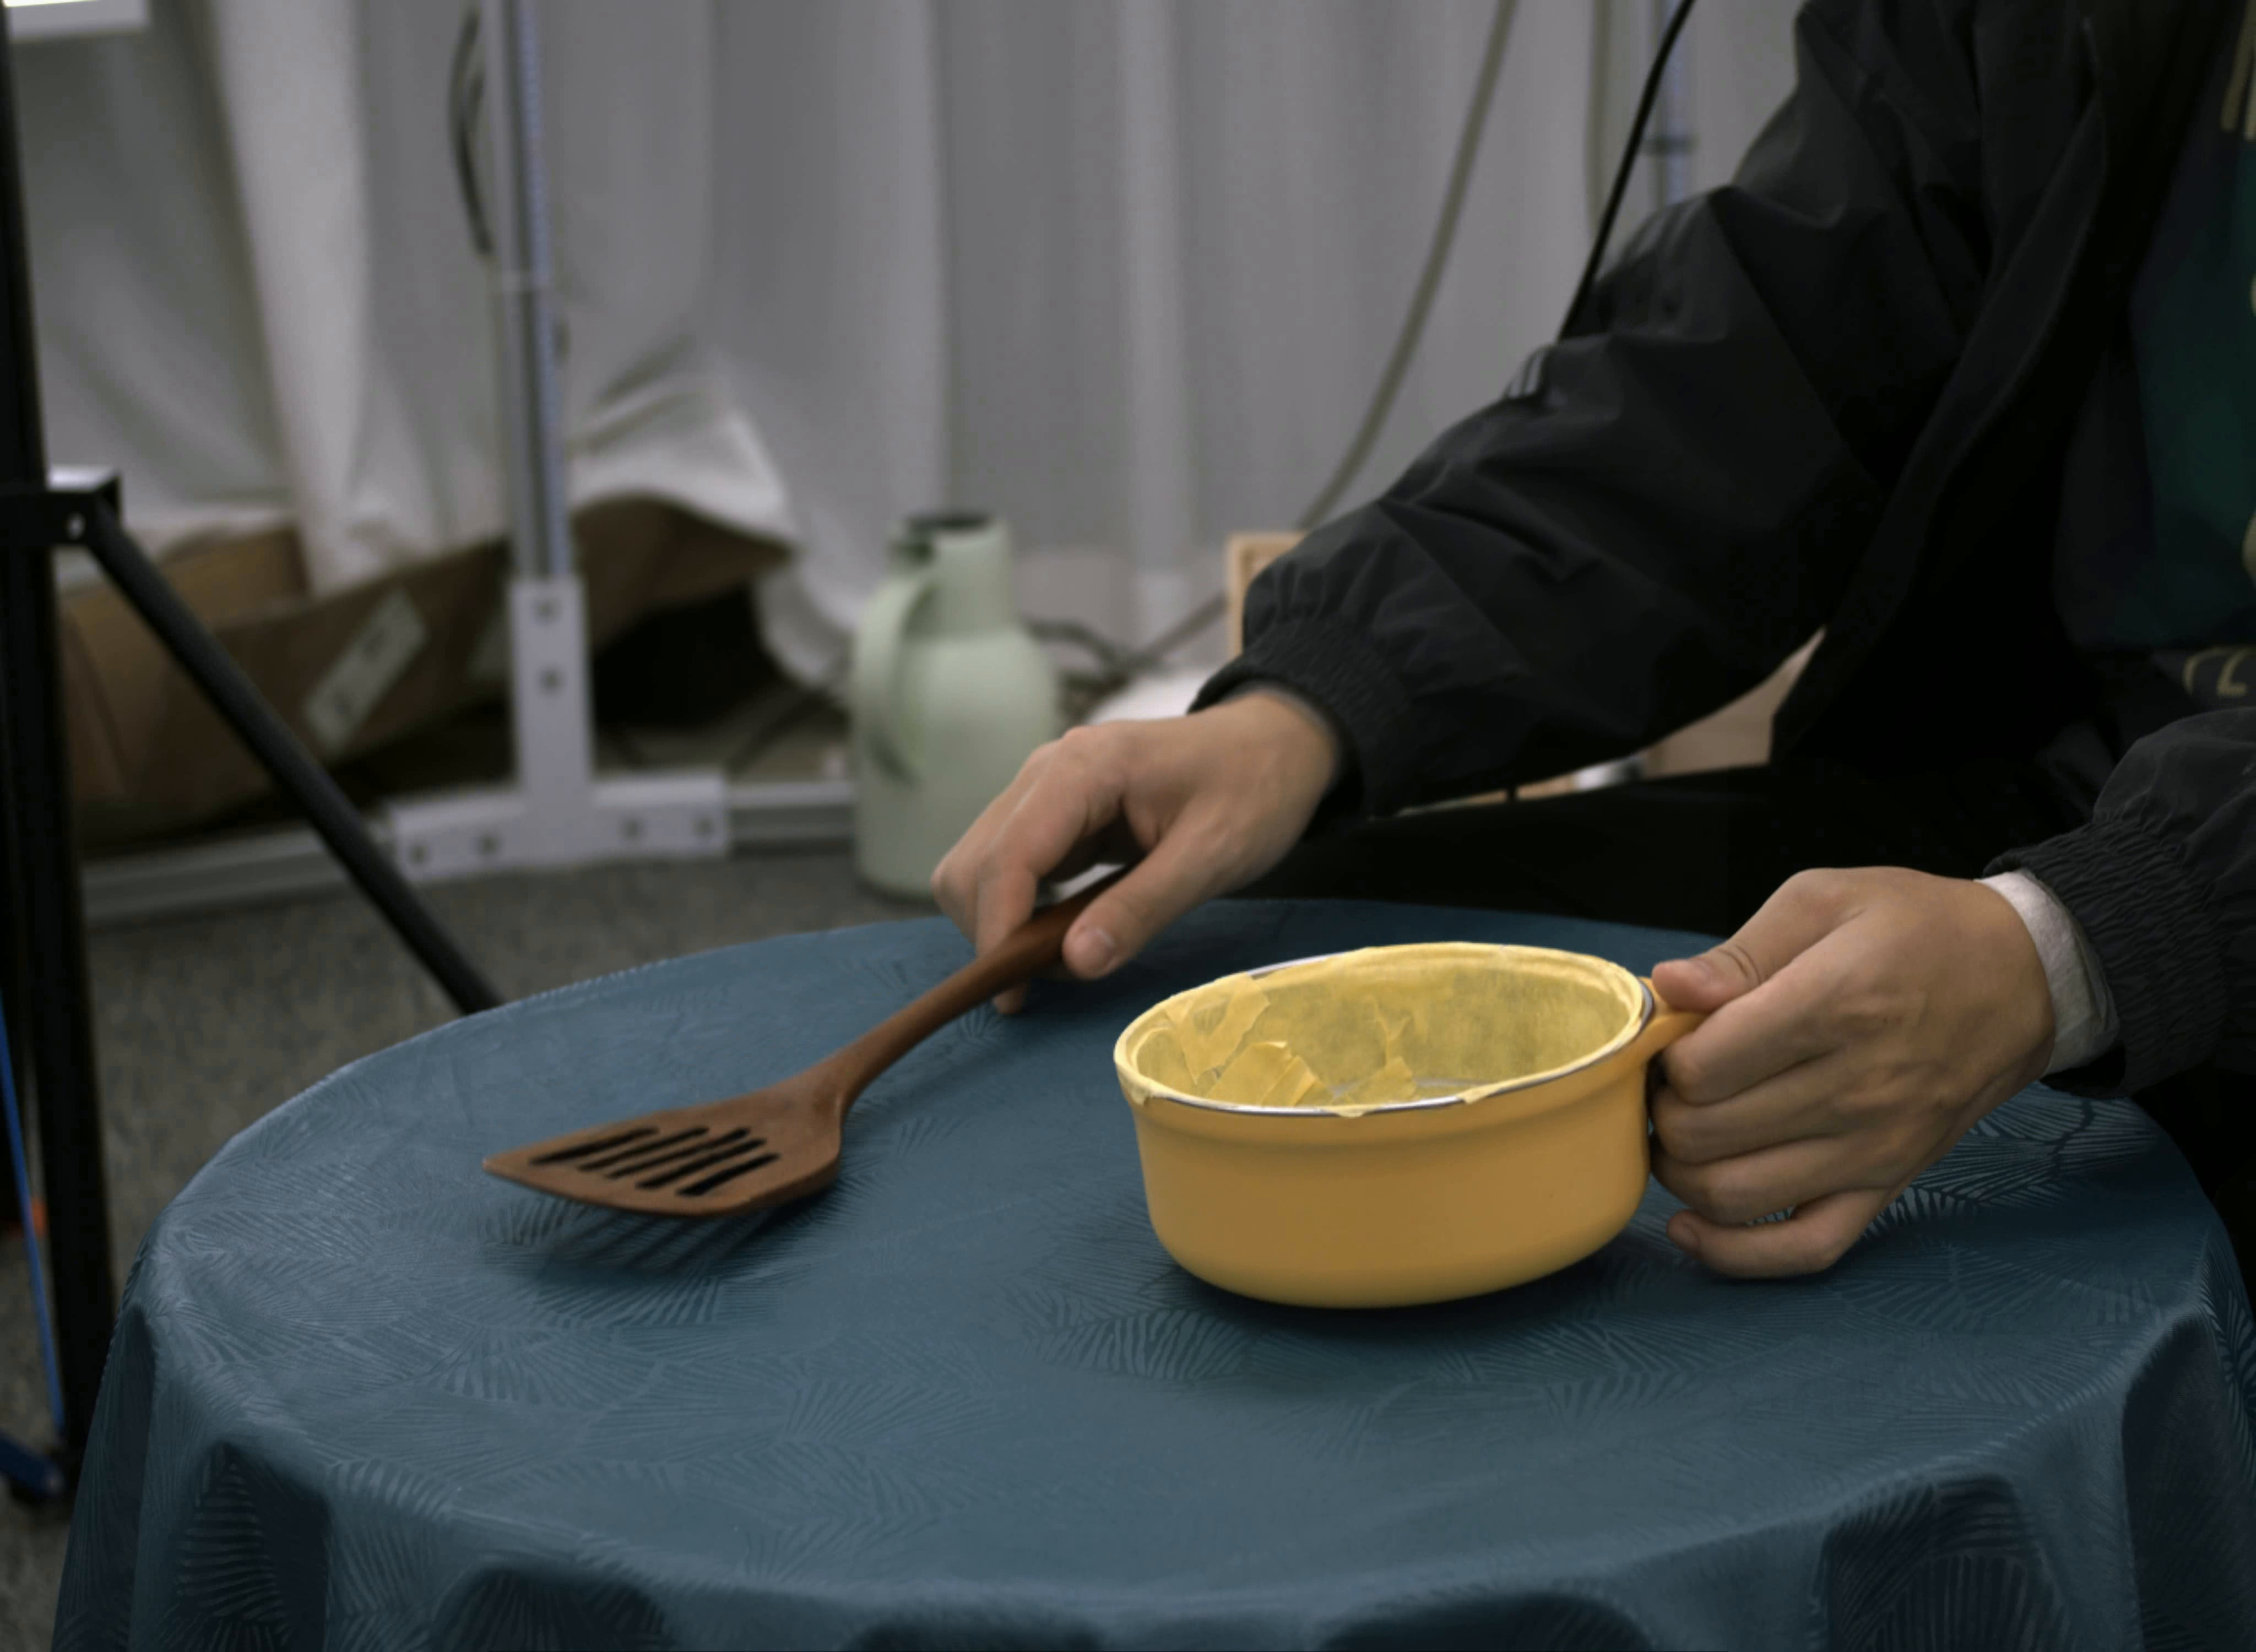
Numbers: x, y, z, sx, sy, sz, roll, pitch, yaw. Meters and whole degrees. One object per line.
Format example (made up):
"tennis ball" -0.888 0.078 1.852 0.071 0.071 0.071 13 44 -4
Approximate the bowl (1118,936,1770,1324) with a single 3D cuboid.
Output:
"bowl" 0.090 0.086 1.486 0.178 0.074 0.154 -8 15 -4

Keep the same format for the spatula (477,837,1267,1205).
"spatula" -0.060 0.059 1.672 0.087 0.024 0.379 12 22 31
